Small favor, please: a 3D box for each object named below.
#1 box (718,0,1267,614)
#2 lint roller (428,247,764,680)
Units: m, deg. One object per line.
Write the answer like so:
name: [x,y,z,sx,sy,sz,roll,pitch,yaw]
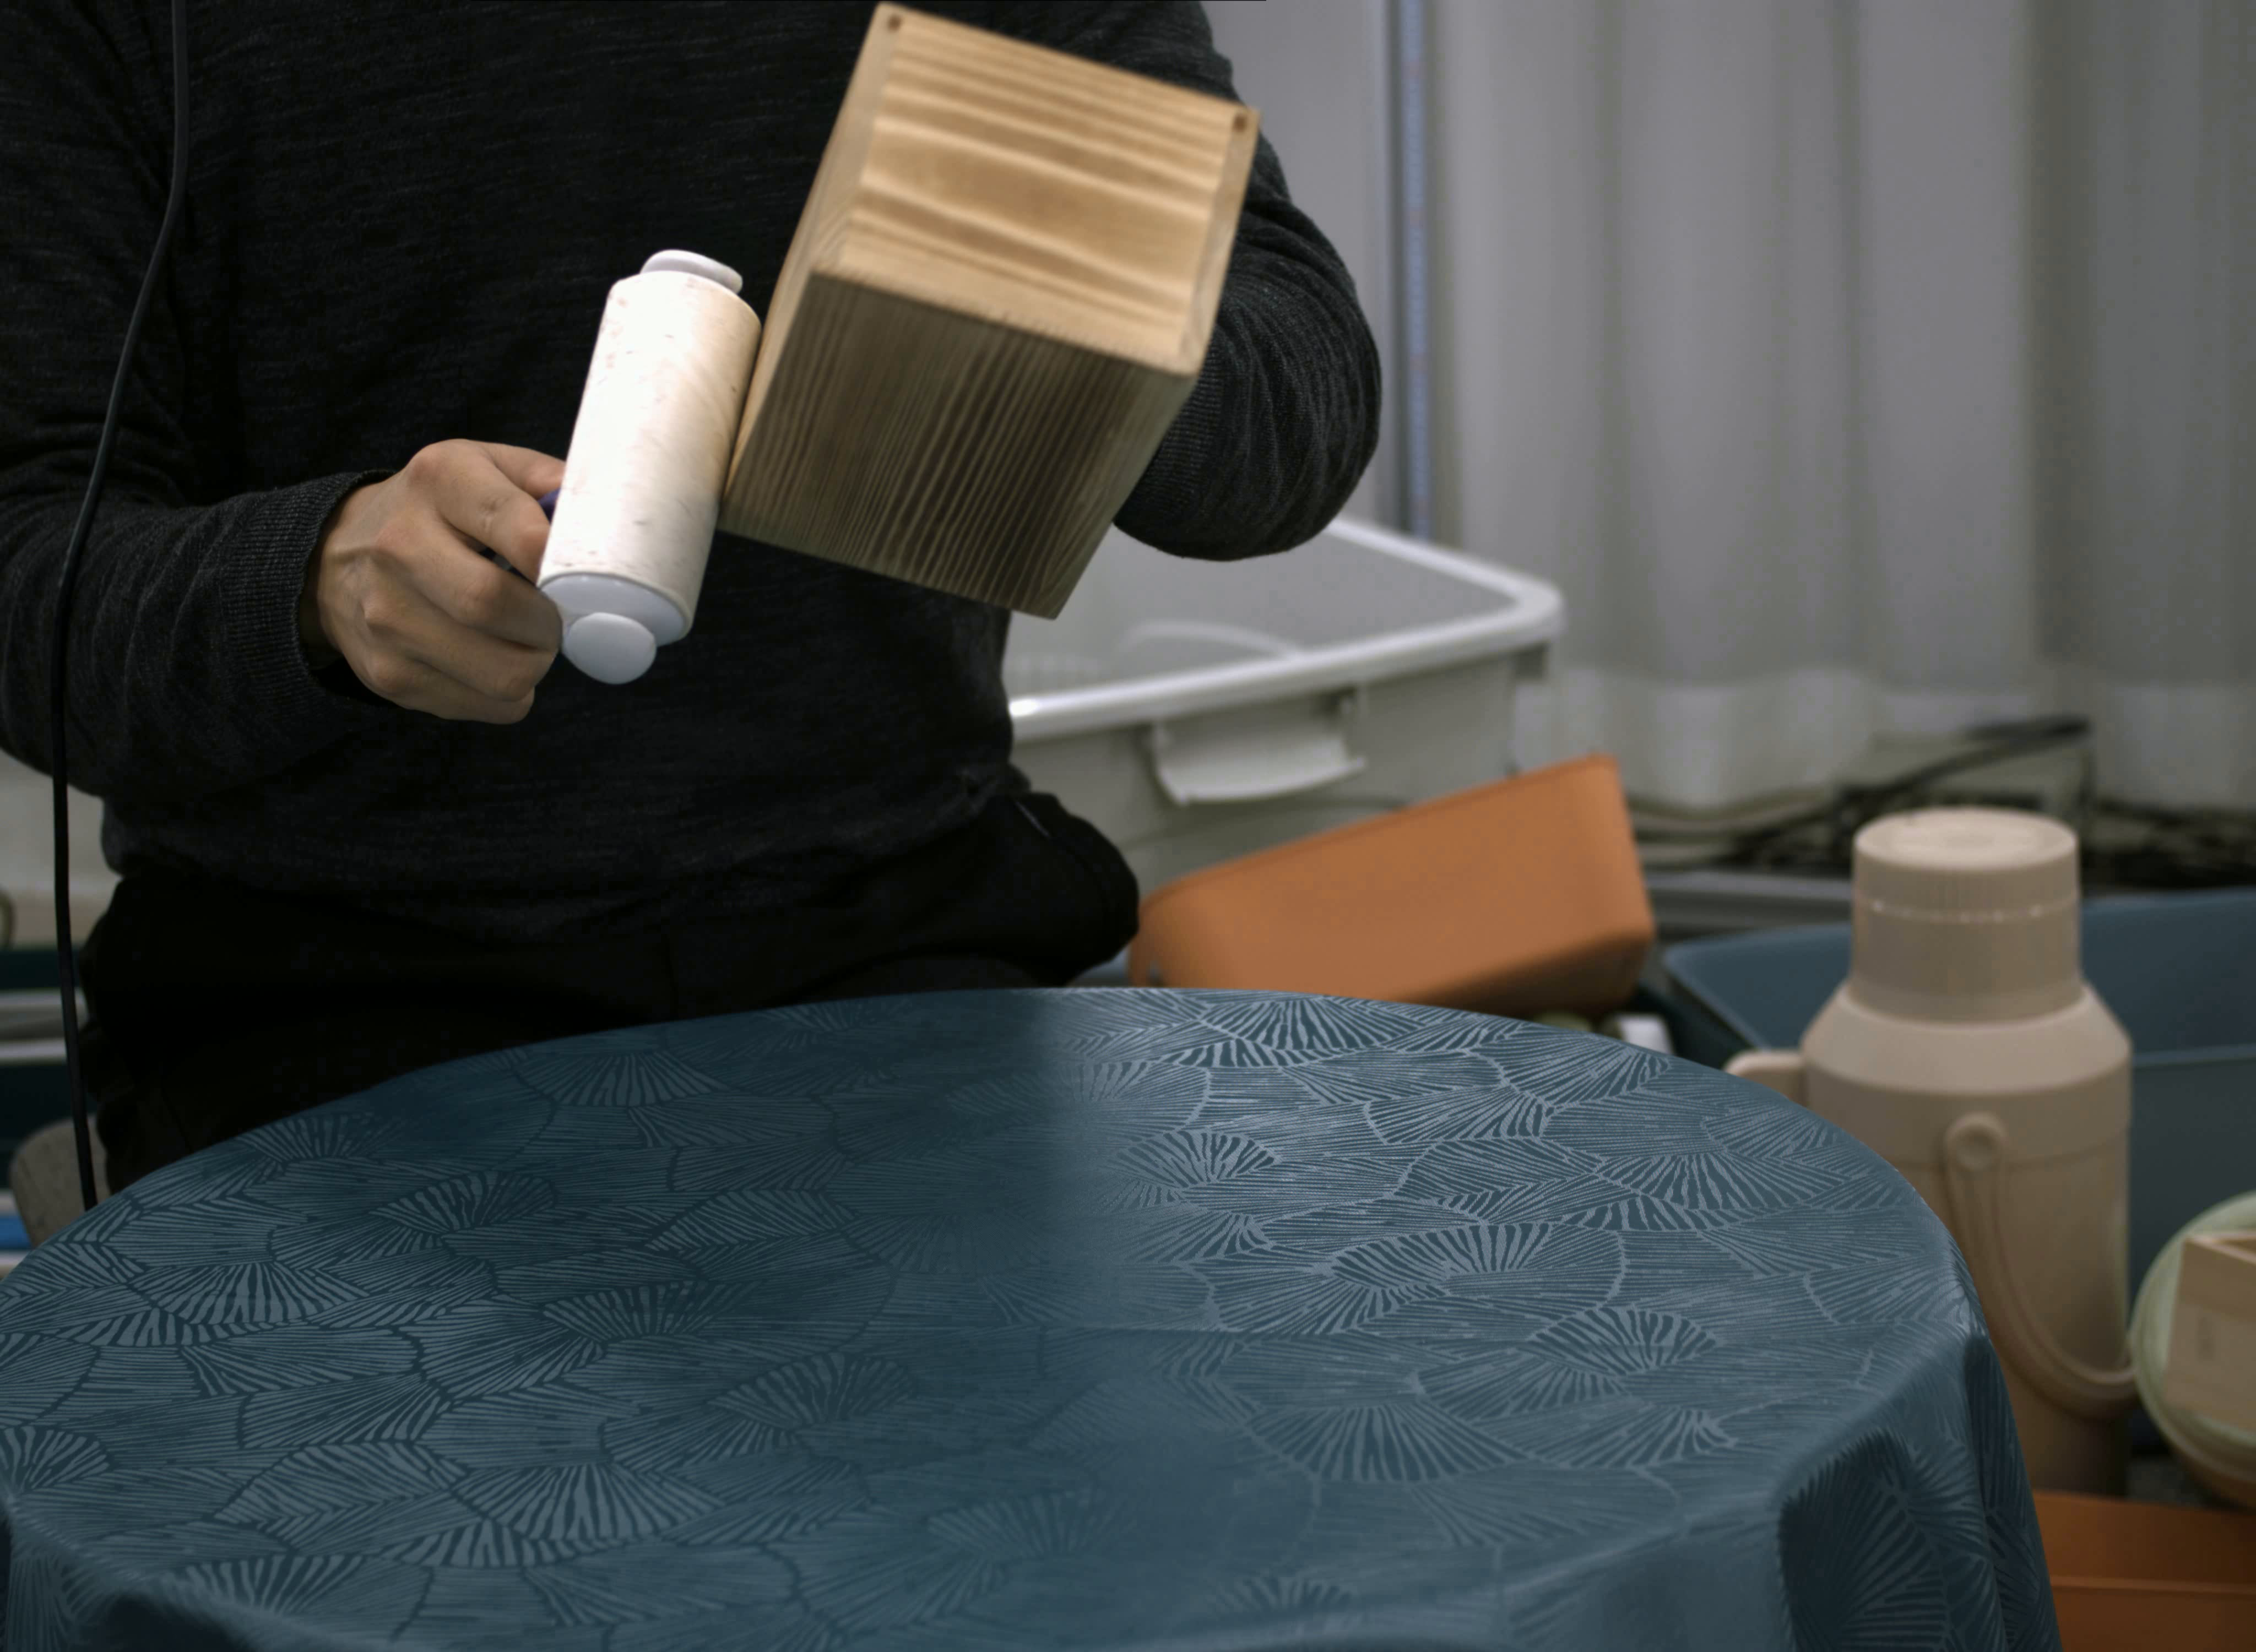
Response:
box: [-0.041,-0.141,1.520,0.107,0.081,0.210,15,-19,-8]
lint roller: [-0.176,-0.093,1.643,0.049,0.134,0.180,26,-27,-30]
